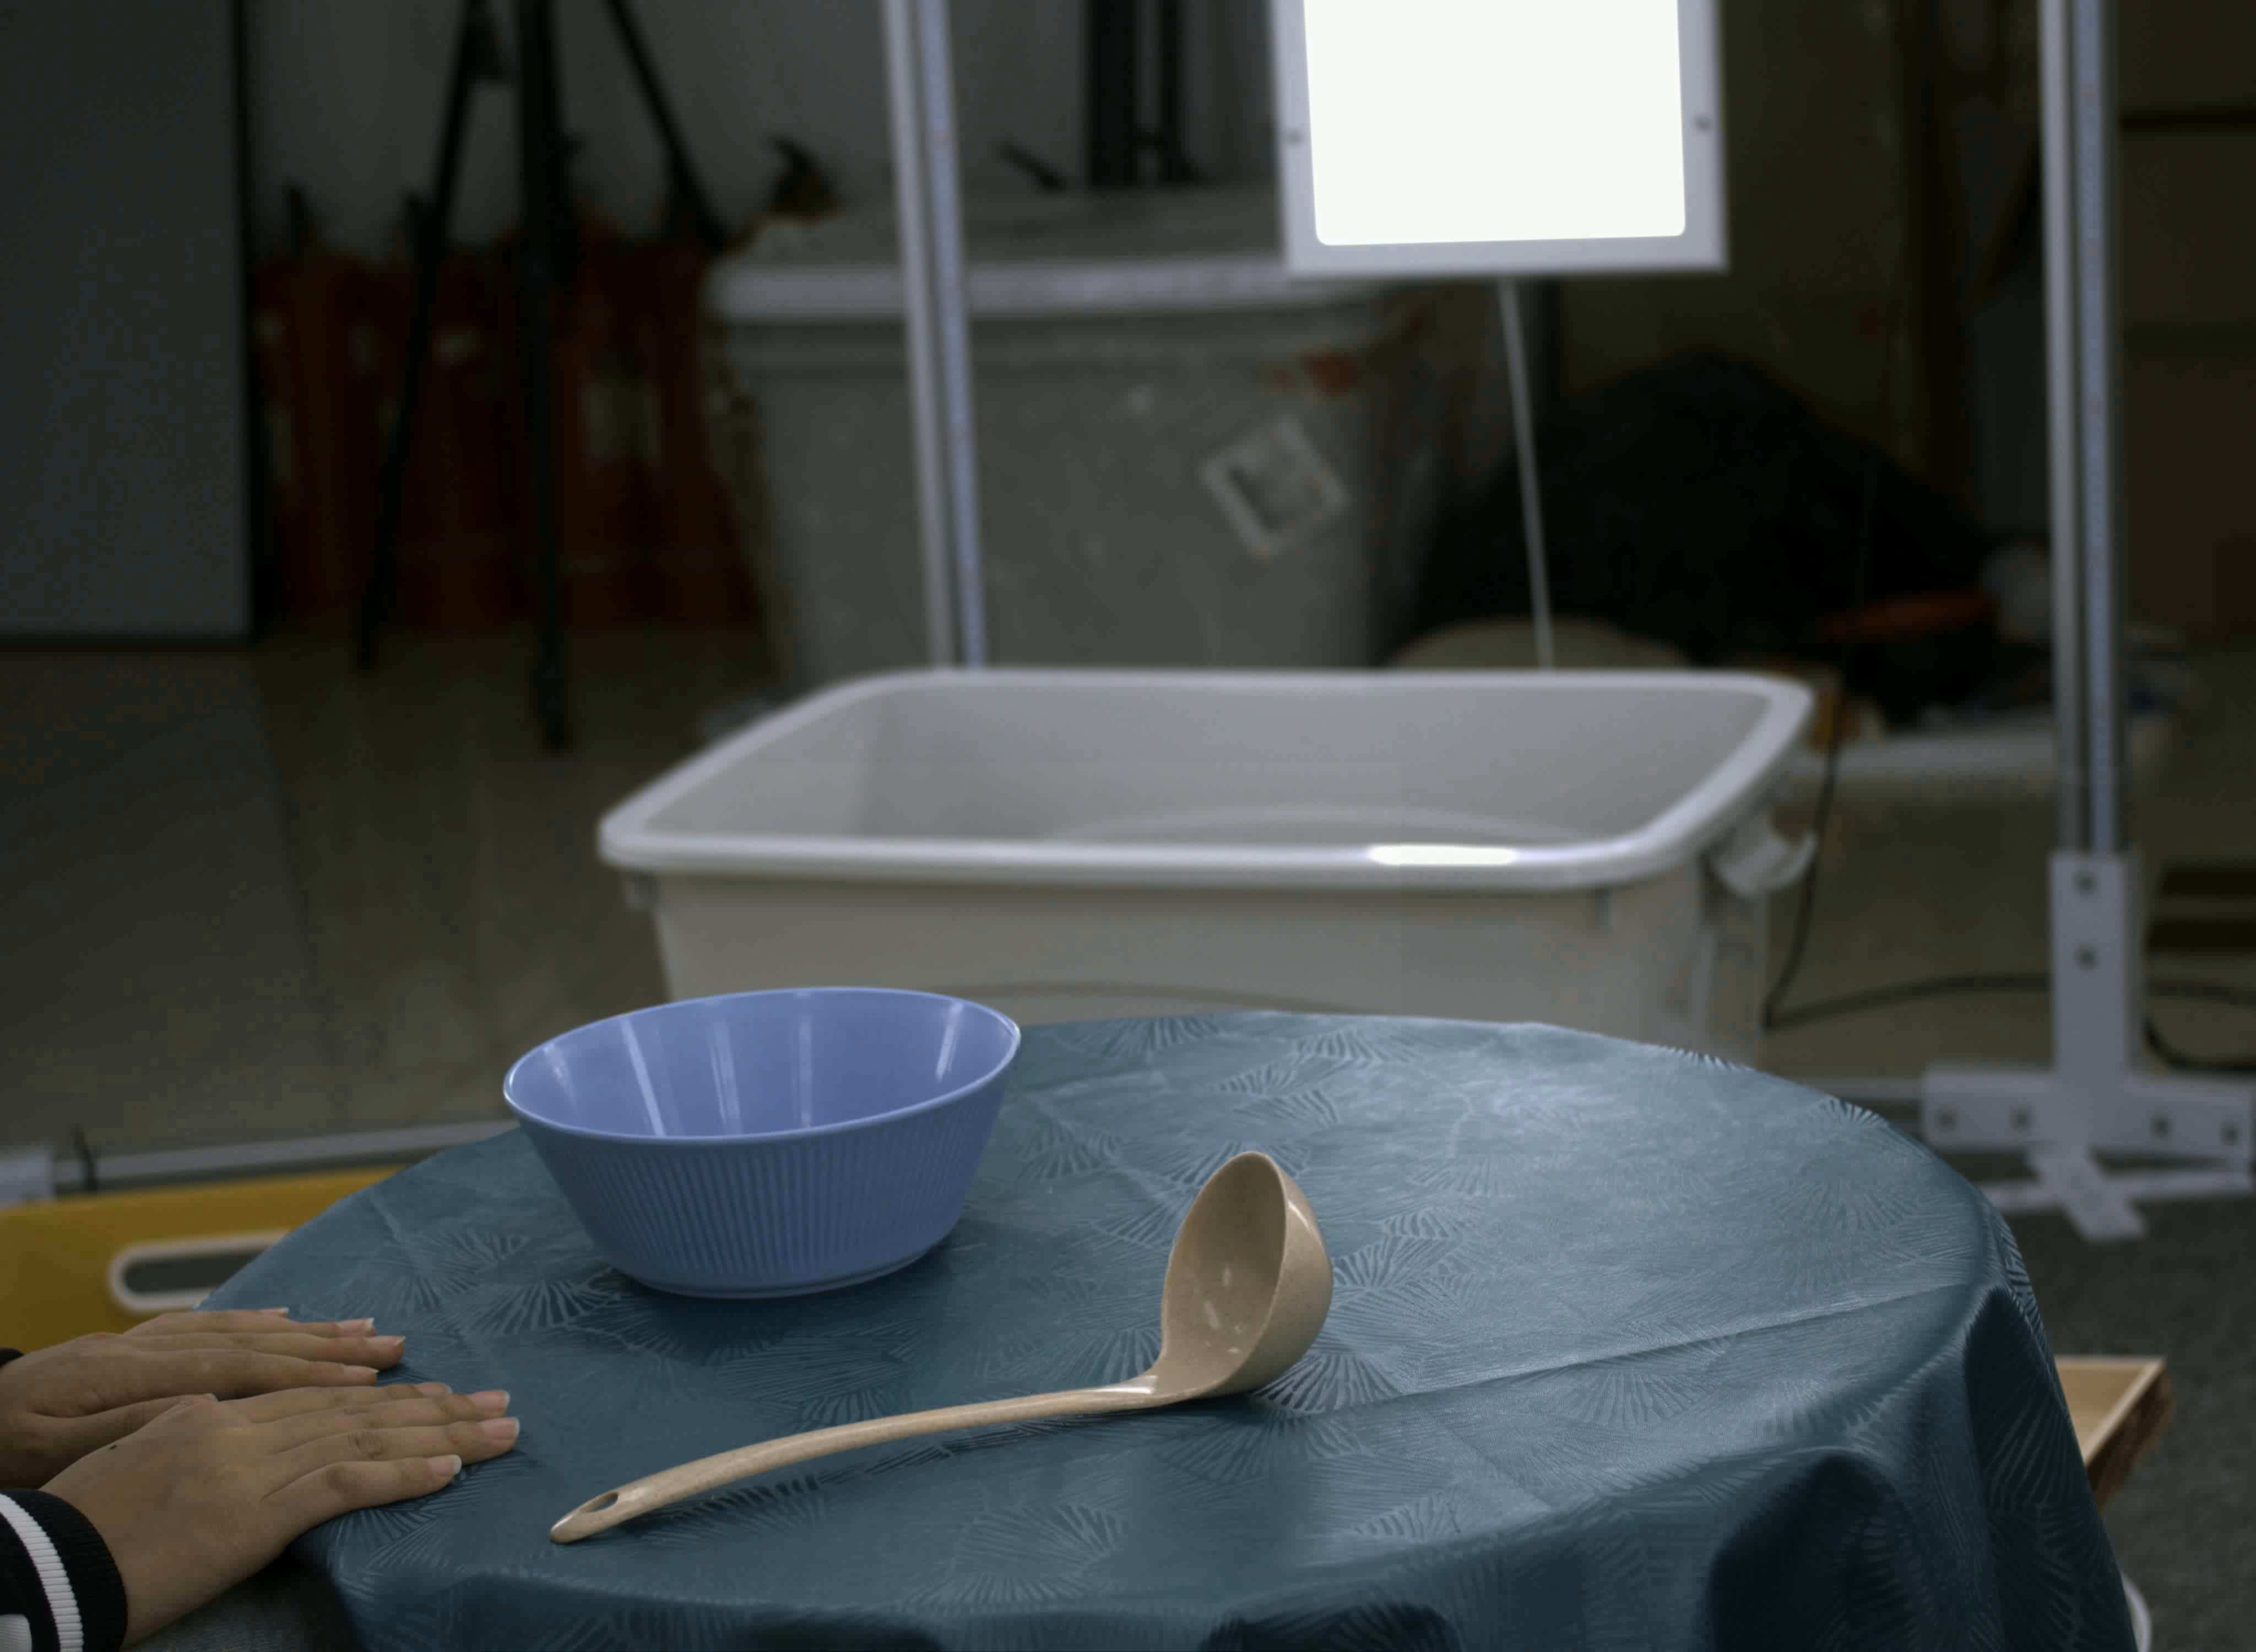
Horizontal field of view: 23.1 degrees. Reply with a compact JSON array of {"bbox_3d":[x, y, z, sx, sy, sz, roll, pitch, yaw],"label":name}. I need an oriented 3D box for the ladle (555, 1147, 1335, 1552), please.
[{"bbox_3d":[-0.057,0.154,1.653,0.249,0.073,0.073,-11,14,-23],"label":"ladle"}]

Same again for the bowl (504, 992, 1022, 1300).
[{"bbox_3d":[-0.120,0.111,1.861,0.175,0.070,0.176,-5,13,0],"label":"bowl"}]
